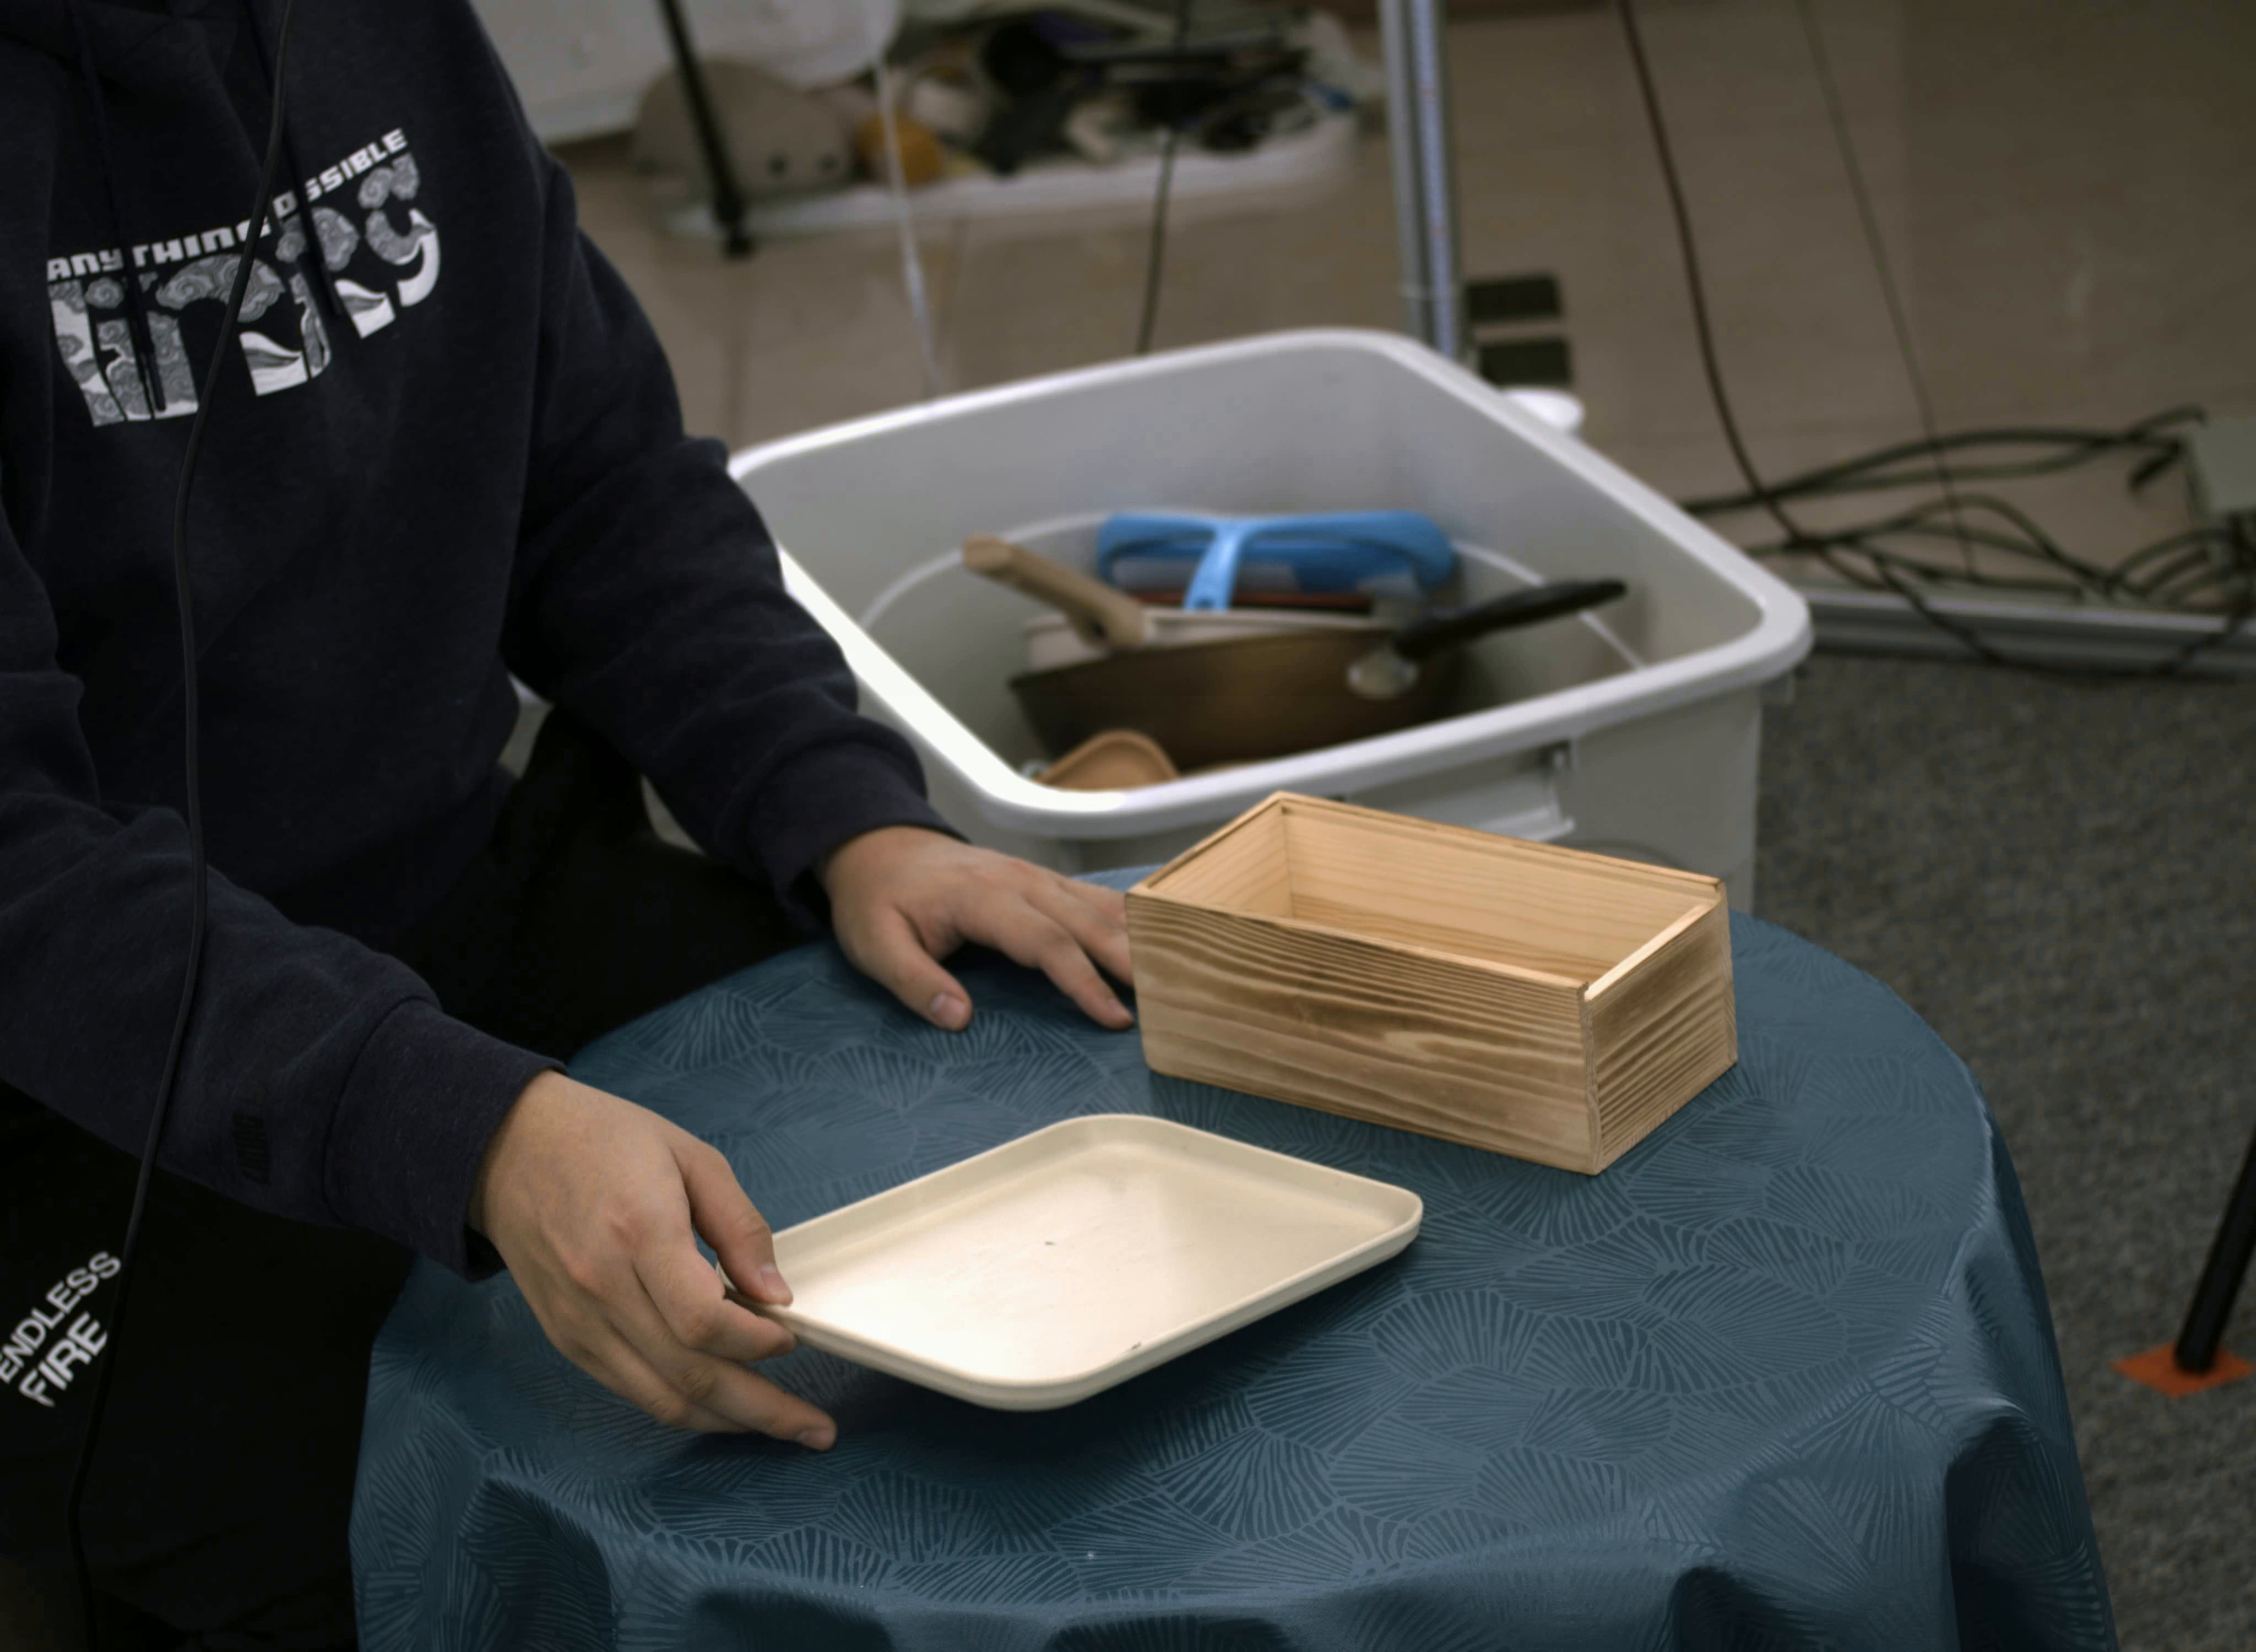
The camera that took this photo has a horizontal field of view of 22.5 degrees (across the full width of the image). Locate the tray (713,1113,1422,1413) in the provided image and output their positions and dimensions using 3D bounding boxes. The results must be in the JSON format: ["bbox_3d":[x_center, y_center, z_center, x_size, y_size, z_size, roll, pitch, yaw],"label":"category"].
[{"bbox_3d":[-0.020,0.157,2.054,0.170,0.018,0.238,14,22,38],"label":"tray"}]

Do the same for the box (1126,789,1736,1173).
[{"bbox_3d":[0.117,0.057,2.200,0.210,0.081,0.106,12,30,35],"label":"box"}]
